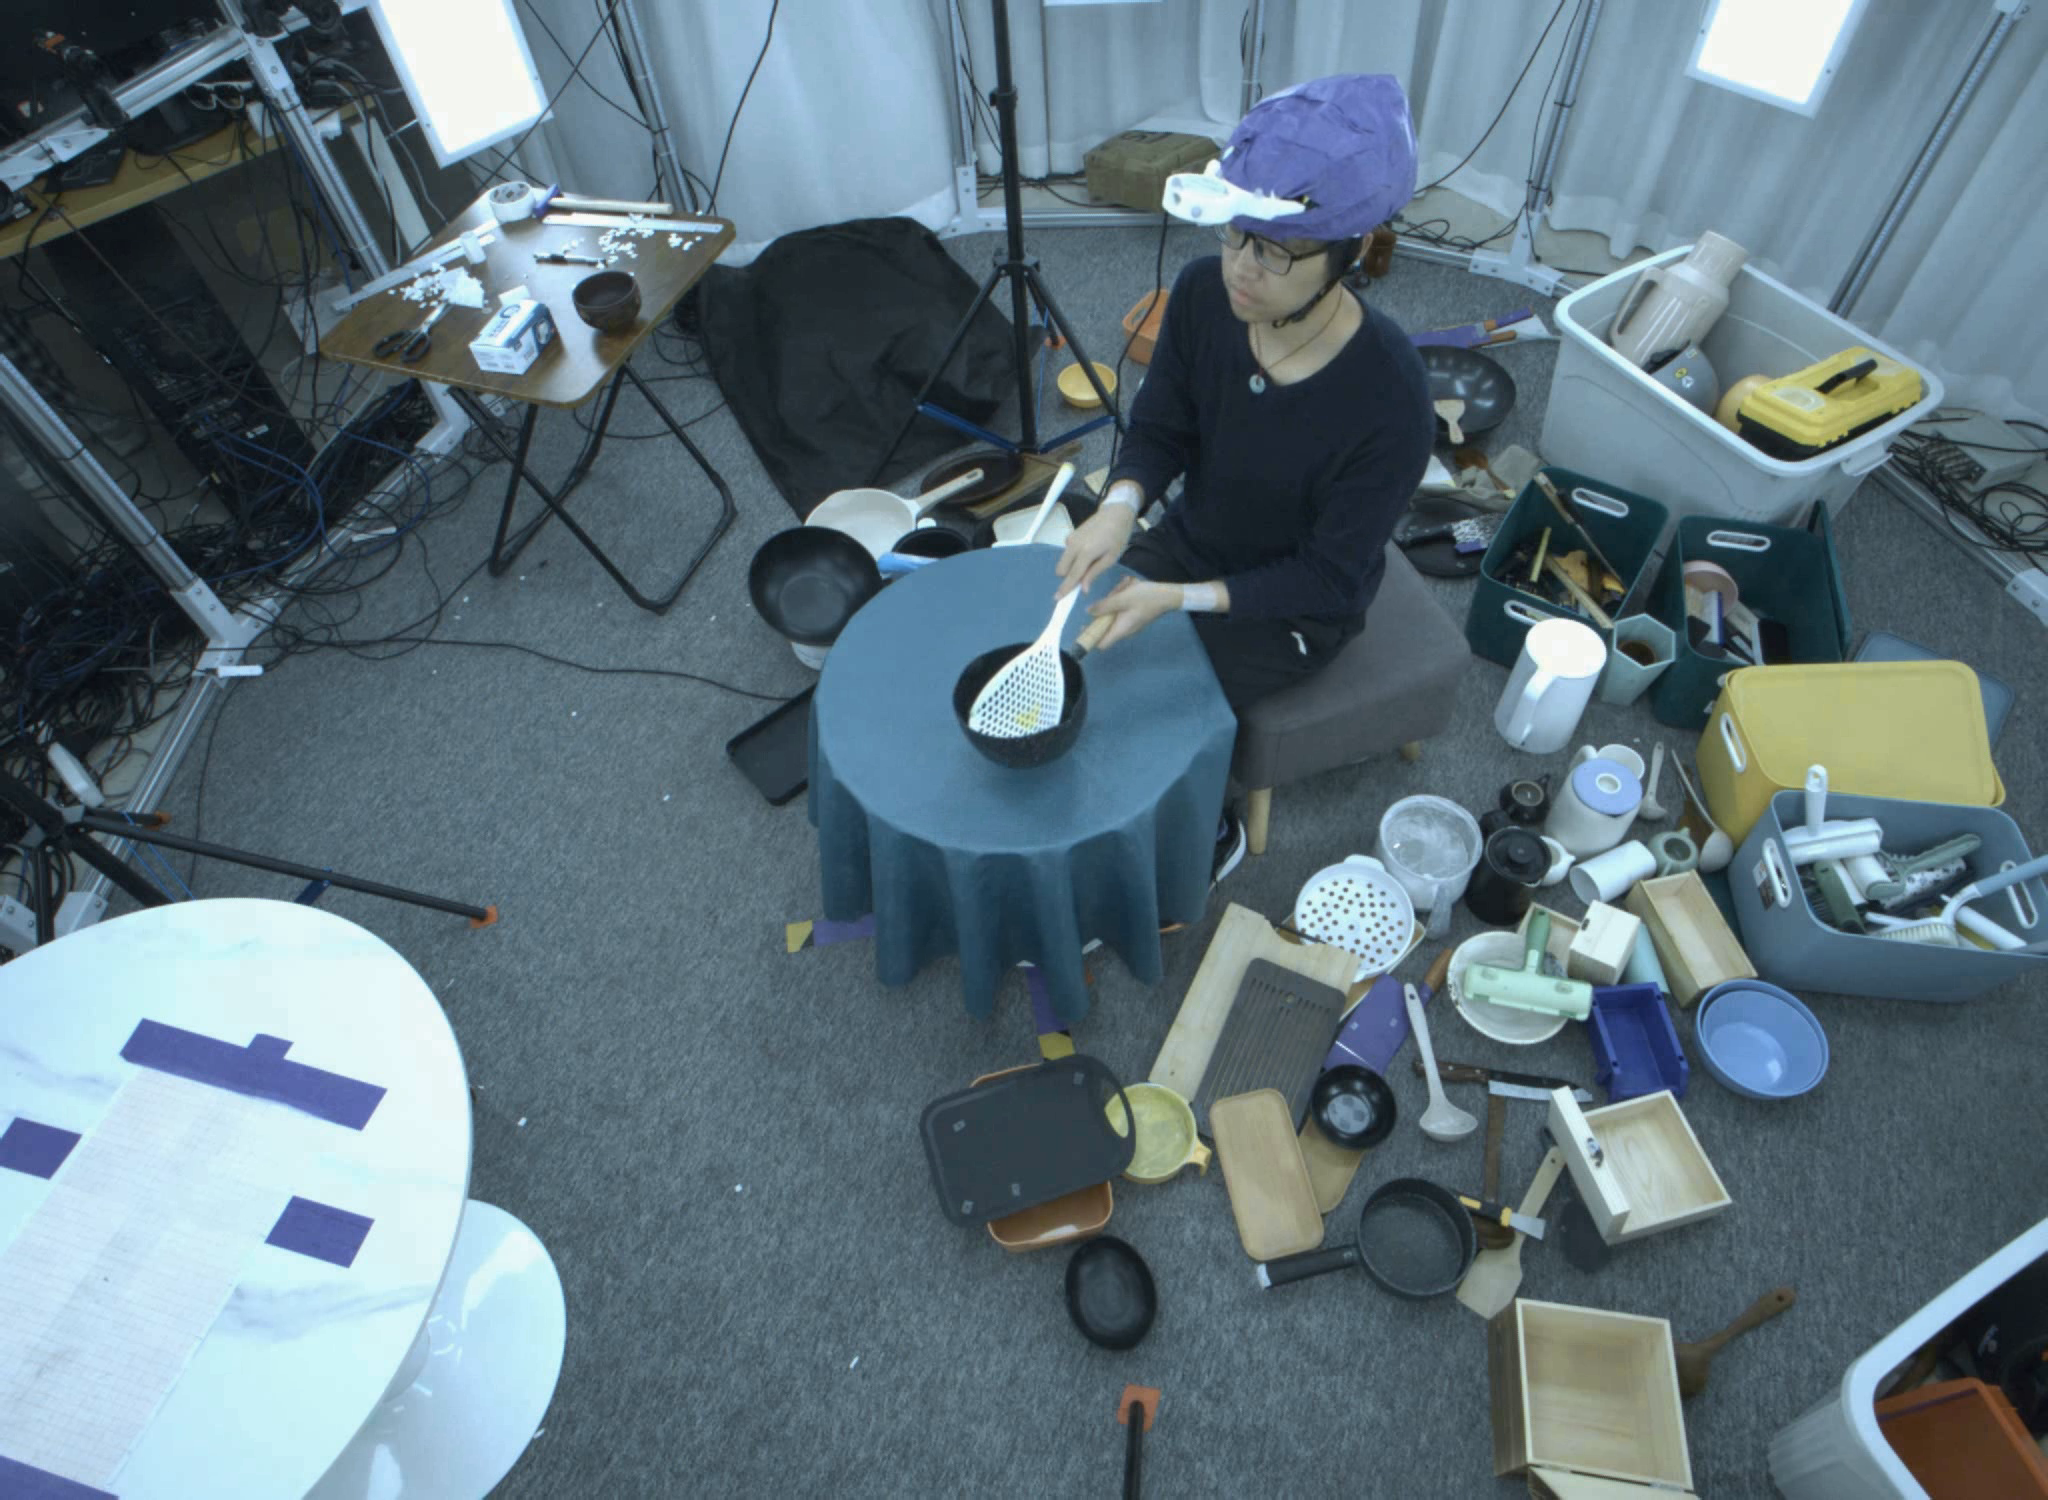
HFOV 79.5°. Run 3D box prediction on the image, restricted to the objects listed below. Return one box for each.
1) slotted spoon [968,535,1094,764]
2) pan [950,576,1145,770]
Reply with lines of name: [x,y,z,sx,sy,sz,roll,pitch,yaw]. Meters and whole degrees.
slotted spoon: [0.031,-0.143,1.708,0.134,0.051,0.347,19,88,26]
pan: [0.051,-0.112,1.723,0.345,0.110,0.203,-41,52,-22]
